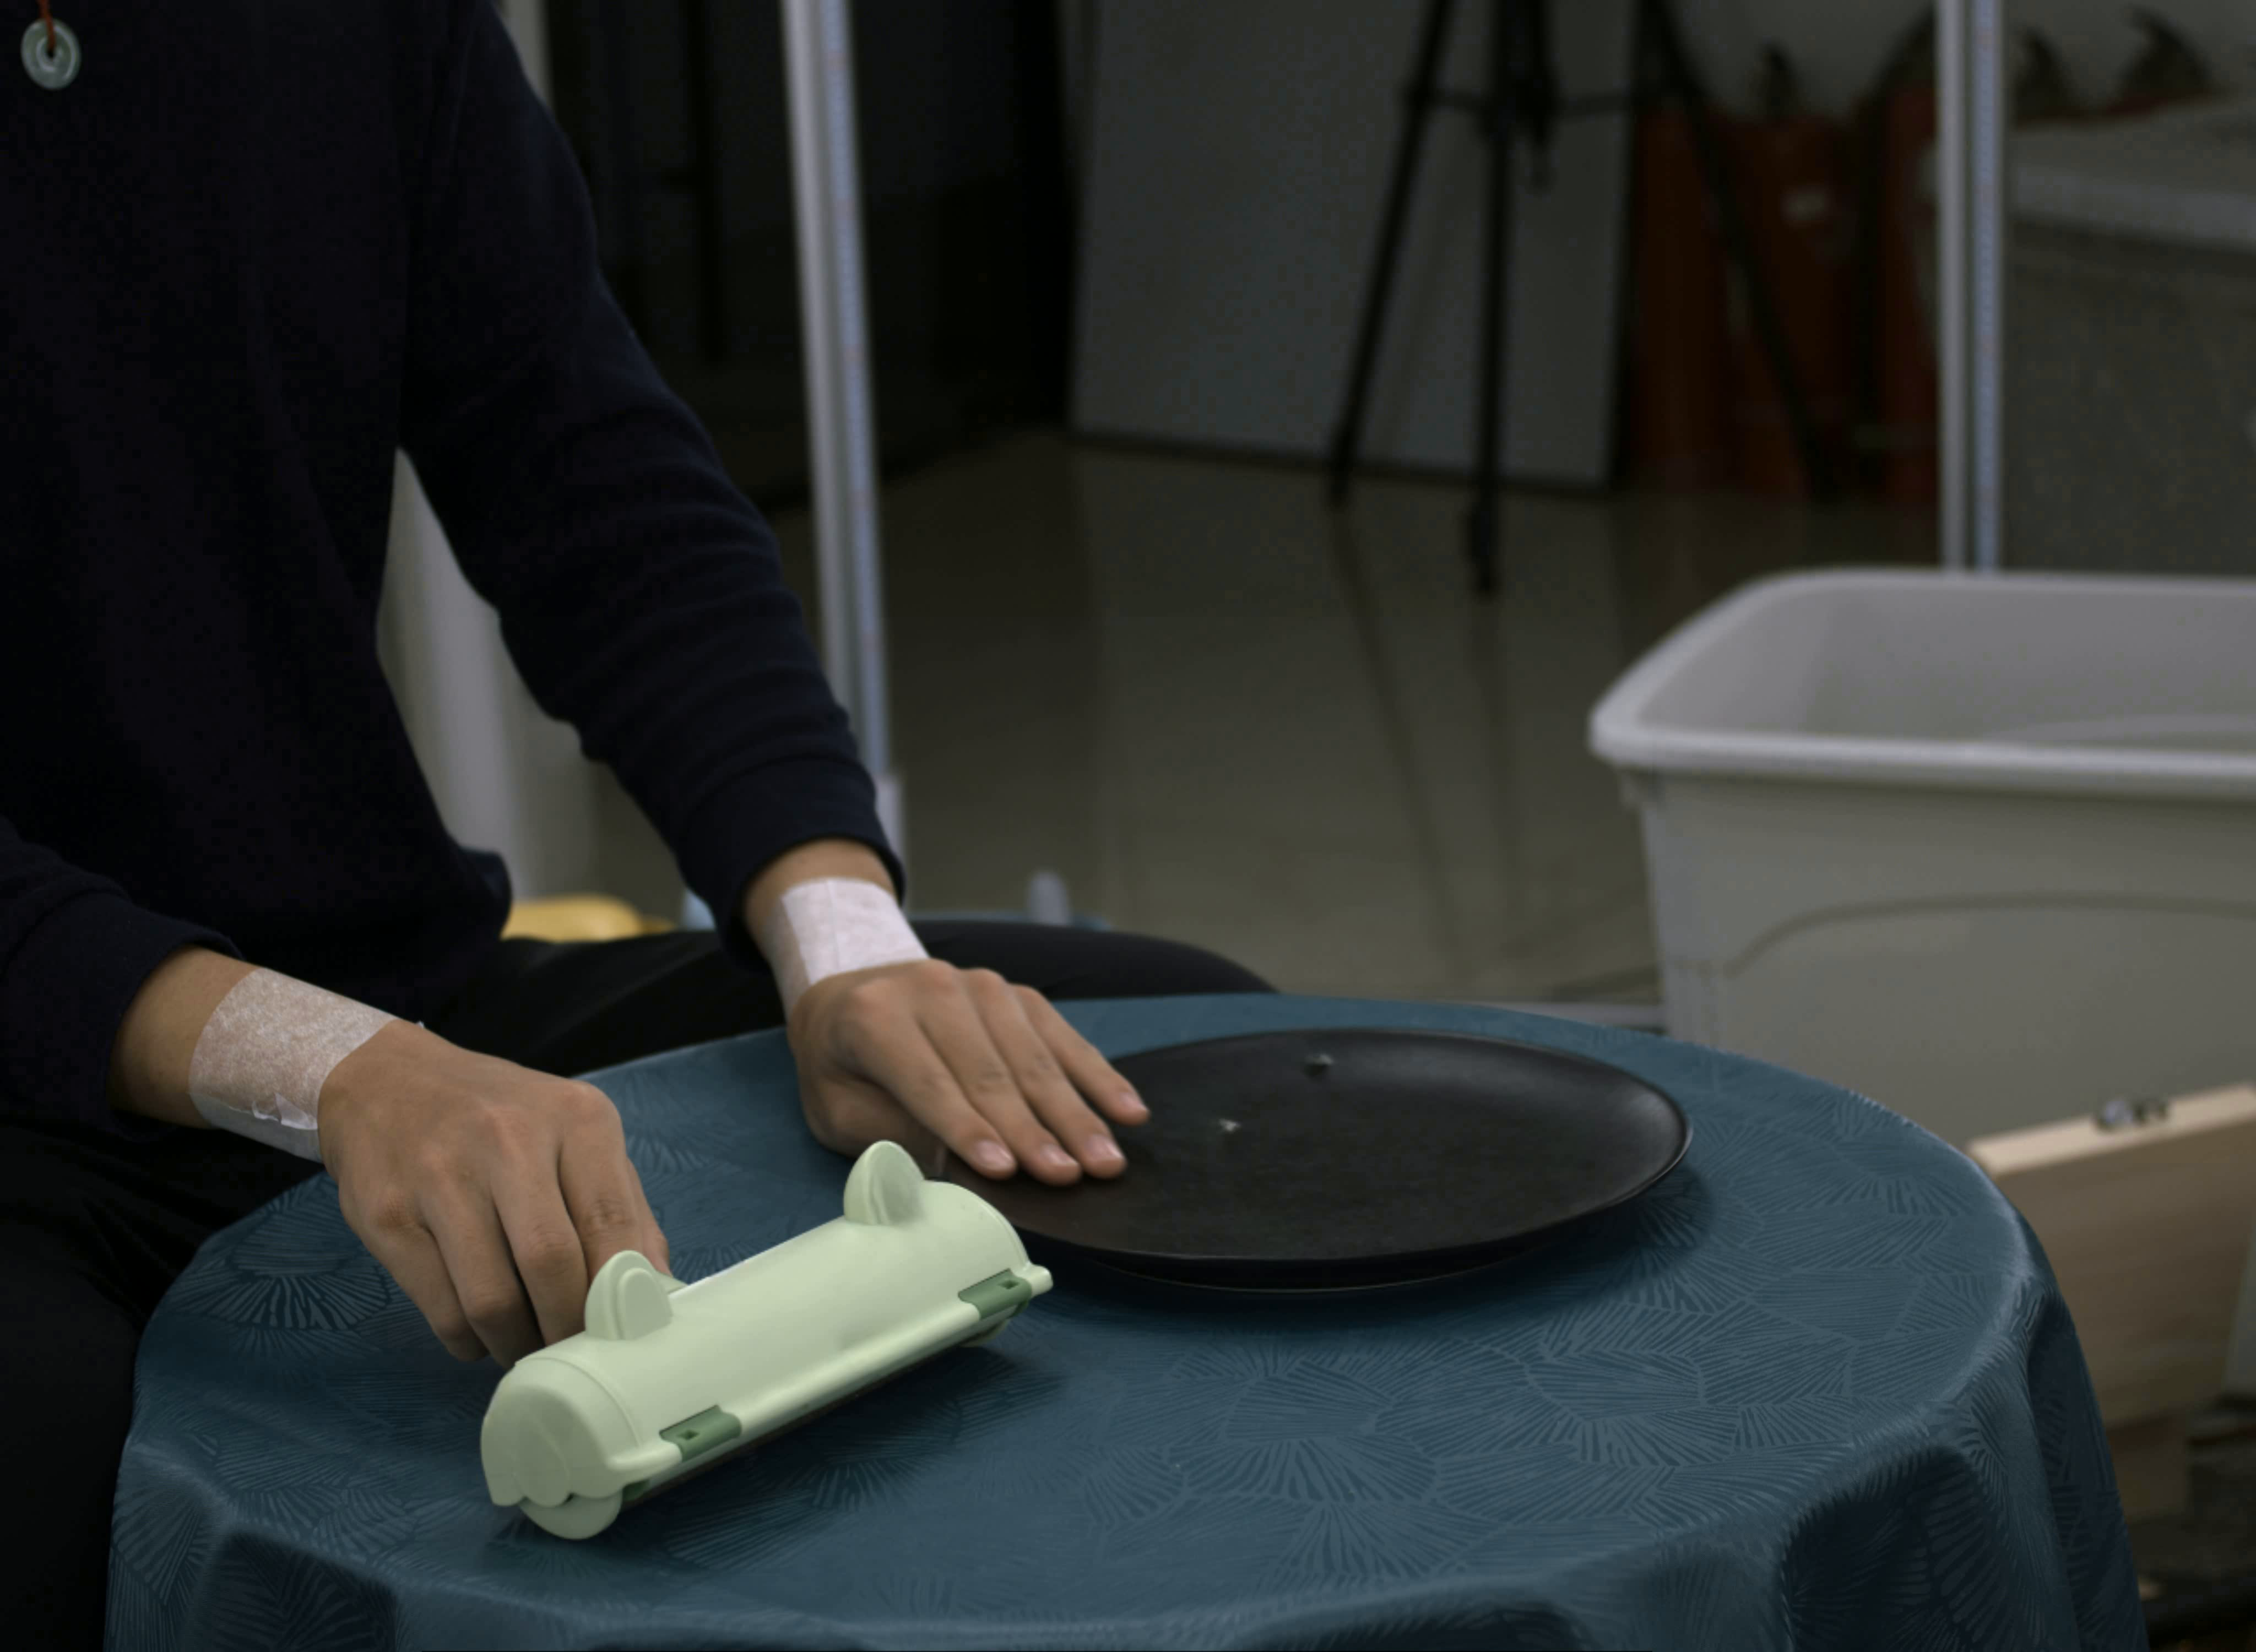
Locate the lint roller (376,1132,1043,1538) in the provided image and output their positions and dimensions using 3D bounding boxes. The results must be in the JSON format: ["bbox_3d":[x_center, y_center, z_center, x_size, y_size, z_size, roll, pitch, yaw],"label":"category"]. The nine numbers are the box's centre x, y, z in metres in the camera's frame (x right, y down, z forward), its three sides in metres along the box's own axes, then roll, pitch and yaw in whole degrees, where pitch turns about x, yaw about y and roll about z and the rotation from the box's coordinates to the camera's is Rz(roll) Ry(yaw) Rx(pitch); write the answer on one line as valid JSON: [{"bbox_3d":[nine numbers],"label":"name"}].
[{"bbox_3d":[-0.148,0.124,1.587,0.184,0.083,0.195,26,27,29],"label":"lint roller"}]

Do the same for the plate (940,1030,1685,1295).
[{"bbox_3d":[0.060,0.110,1.741,0.241,0.024,0.245,-3,14,0],"label":"plate"}]
